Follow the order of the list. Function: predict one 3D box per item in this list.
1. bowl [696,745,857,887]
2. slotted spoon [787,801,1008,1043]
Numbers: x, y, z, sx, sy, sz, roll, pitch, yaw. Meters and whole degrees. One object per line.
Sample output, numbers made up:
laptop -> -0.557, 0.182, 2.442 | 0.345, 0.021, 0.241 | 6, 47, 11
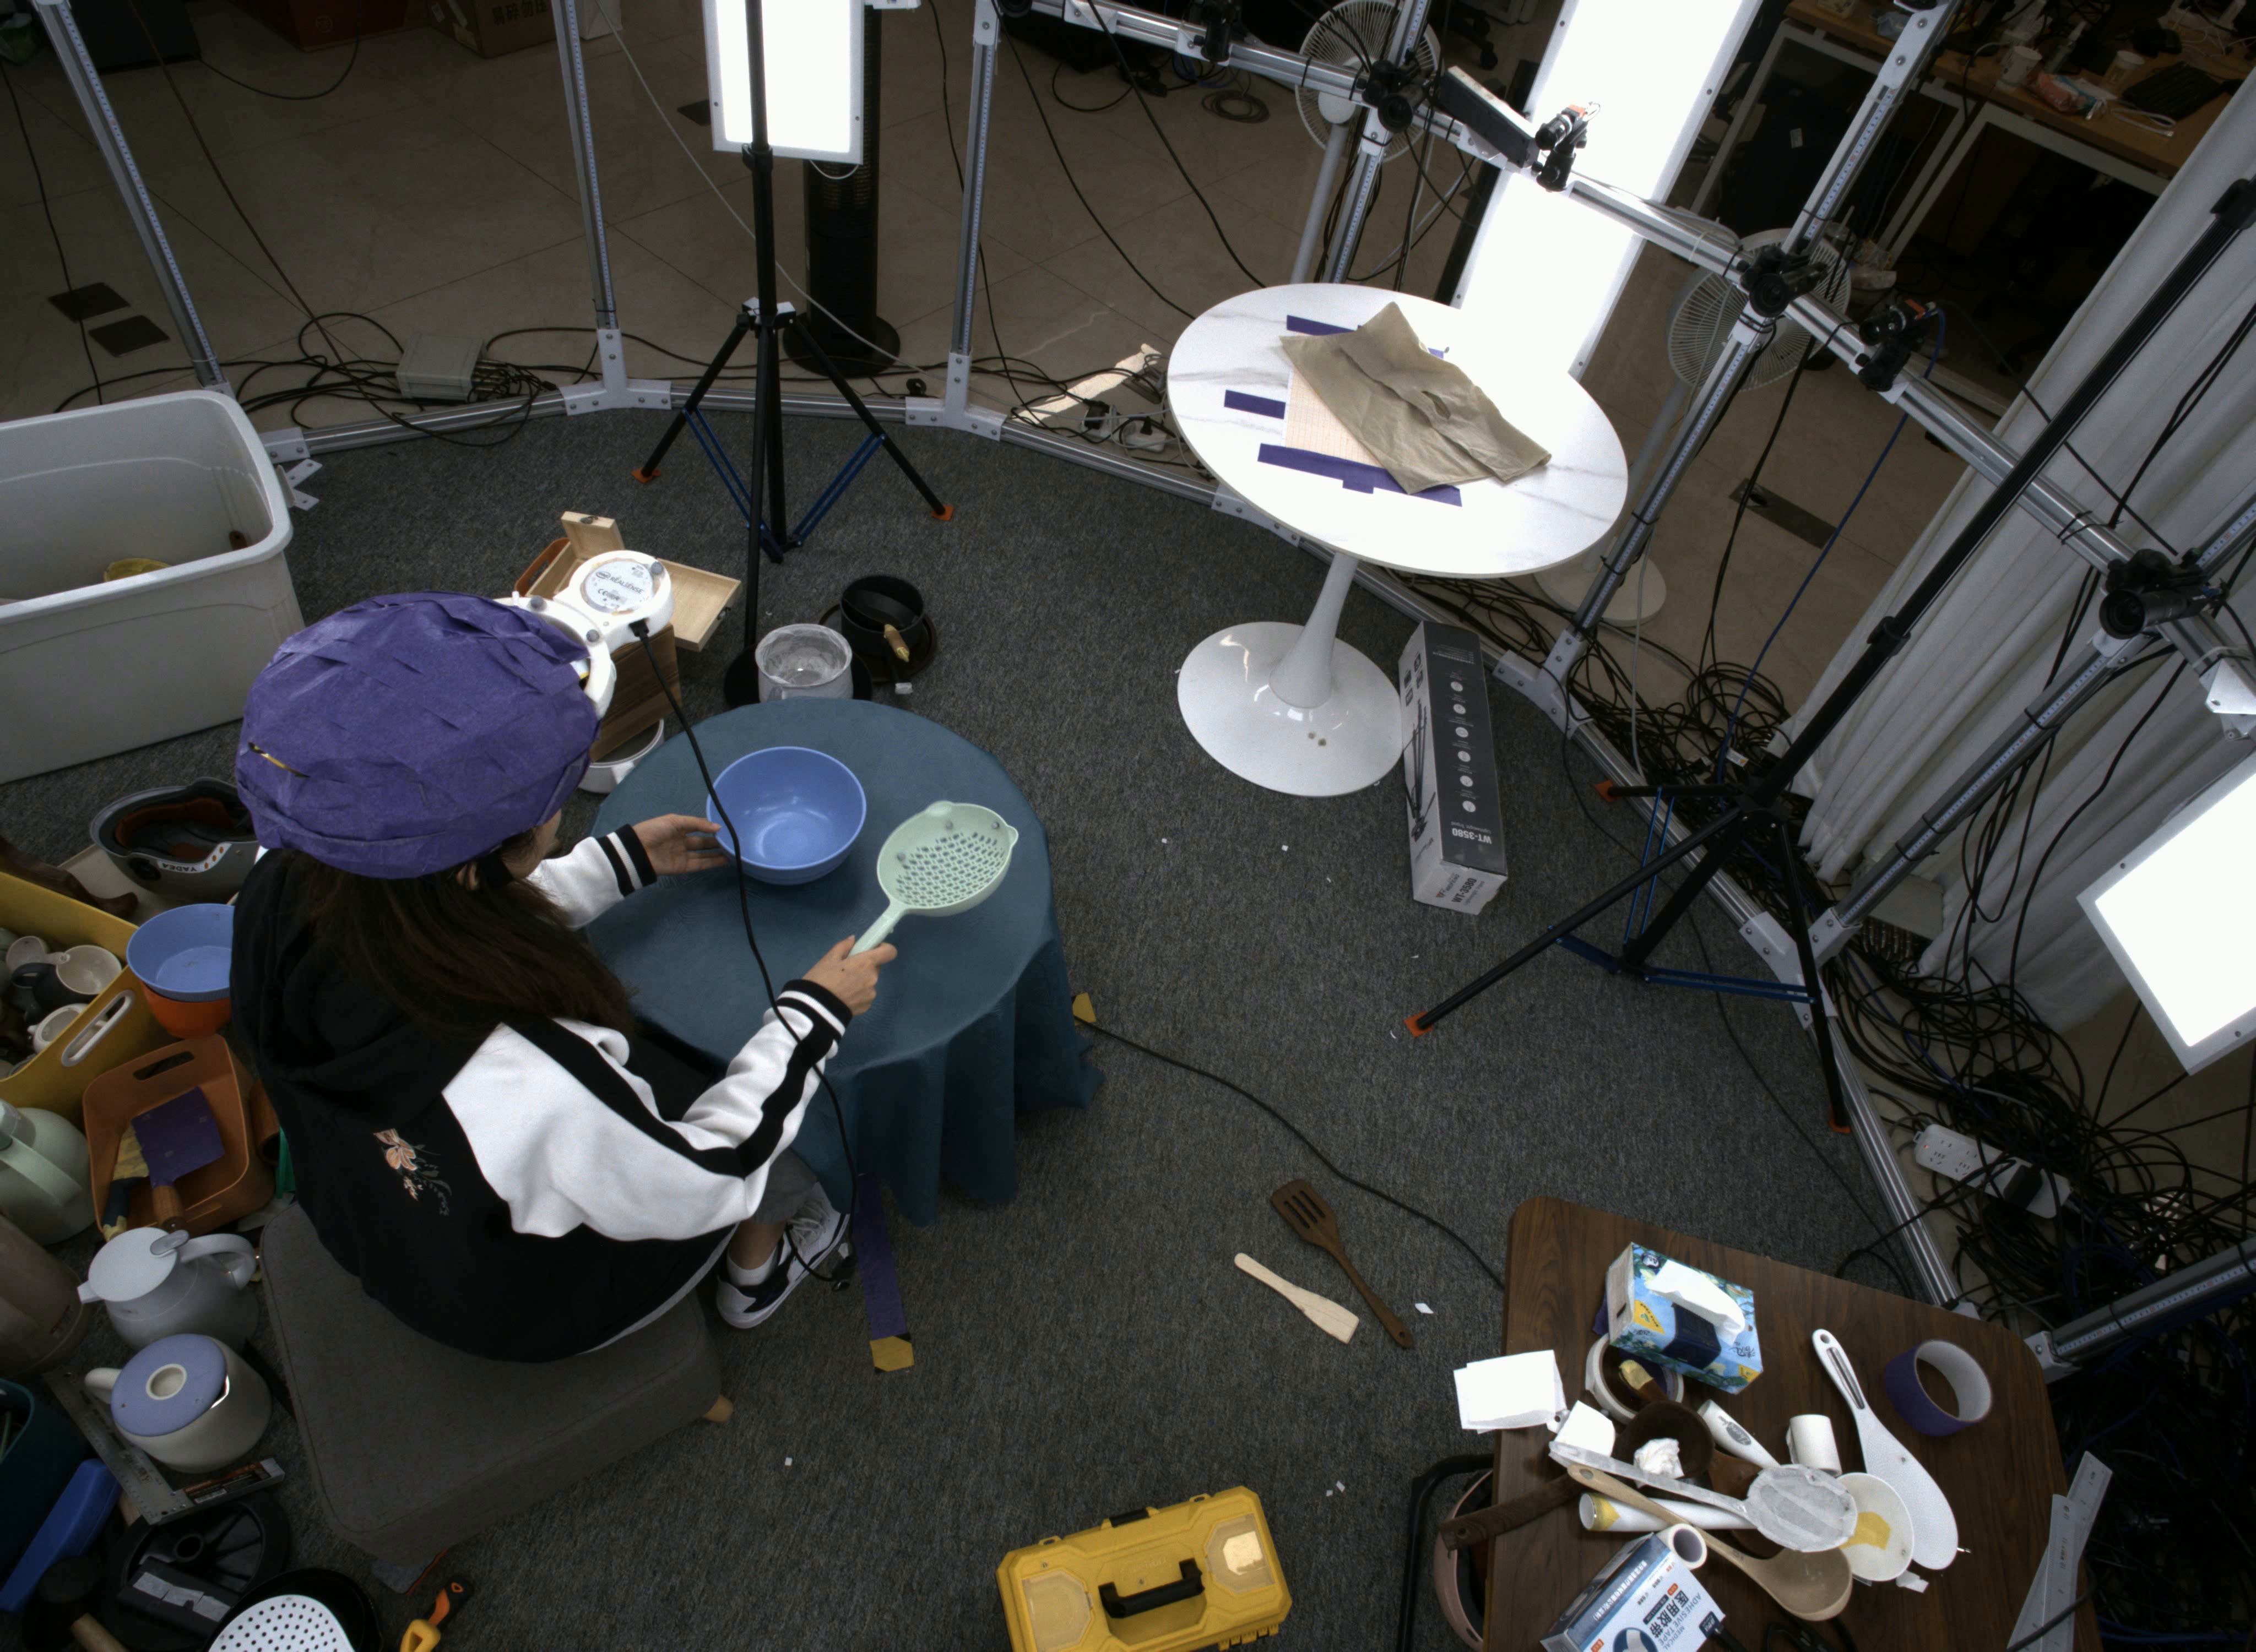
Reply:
bowl -> -0.445, 0.003, 1.650 | 0.196, 0.097, 0.193 | 8, 52, -9
slotted spoon -> -0.283, 0.107, 1.533 | 0.163, 0.078, 0.358 | 18, 46, 31
